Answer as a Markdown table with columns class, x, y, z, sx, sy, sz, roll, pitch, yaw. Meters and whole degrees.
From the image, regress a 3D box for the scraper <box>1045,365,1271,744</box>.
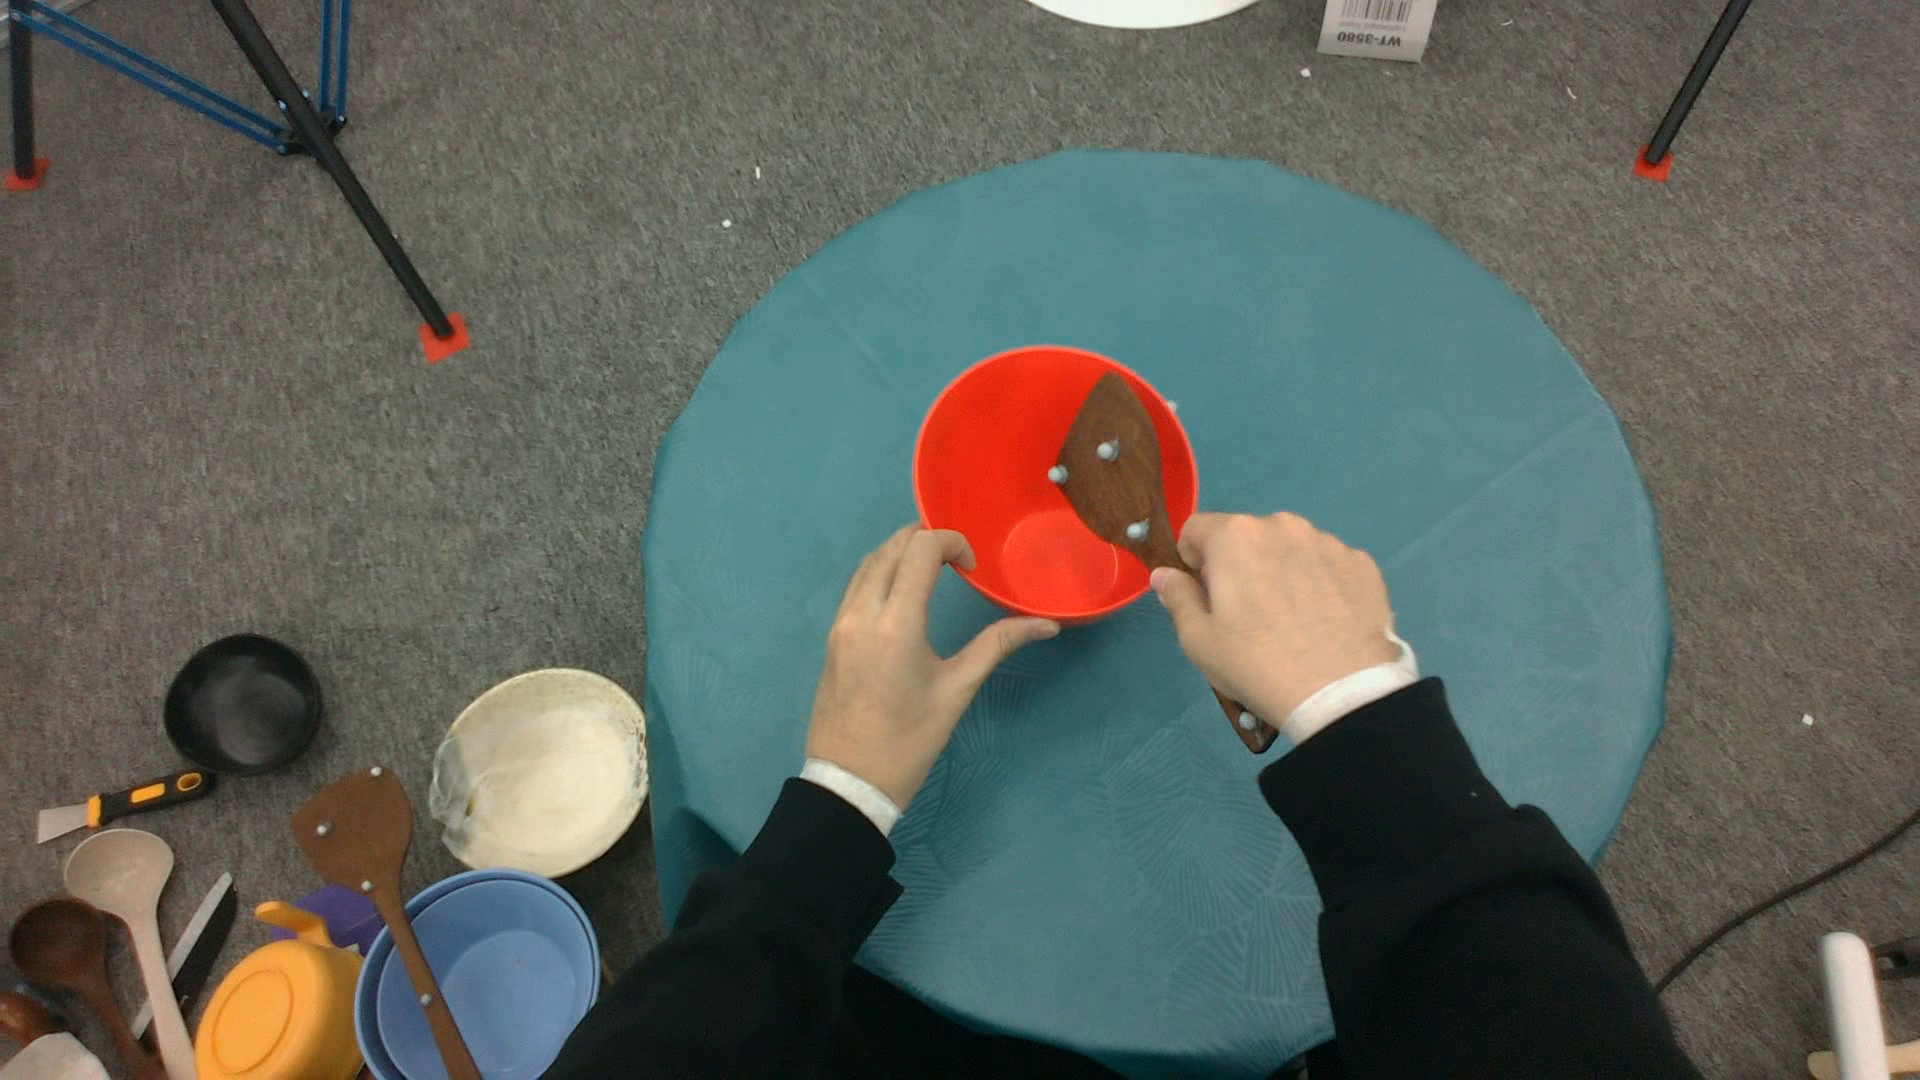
| class | x | y | z | sx | sy | sz | roll | pitch | yaw |
| --- | --- | --- | --- | --- | --- | --- | --- | --- | --- |
| scraper | 0.091 | 0.007 | 0.643 | 0.011 | 0.075 | 0.212 | 0 | 43 | -27 |

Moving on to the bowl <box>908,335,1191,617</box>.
| class | x | y | z | sx | sy | sz | roll | pitch | yaw |
| --- | --- | --- | --- | --- | --- | --- | --- | --- | --- |
| bowl | 0.046 | -0.022 | 0.744 | 0.148 | 0.104 | 0.148 | 1 | 65 | -1 |
